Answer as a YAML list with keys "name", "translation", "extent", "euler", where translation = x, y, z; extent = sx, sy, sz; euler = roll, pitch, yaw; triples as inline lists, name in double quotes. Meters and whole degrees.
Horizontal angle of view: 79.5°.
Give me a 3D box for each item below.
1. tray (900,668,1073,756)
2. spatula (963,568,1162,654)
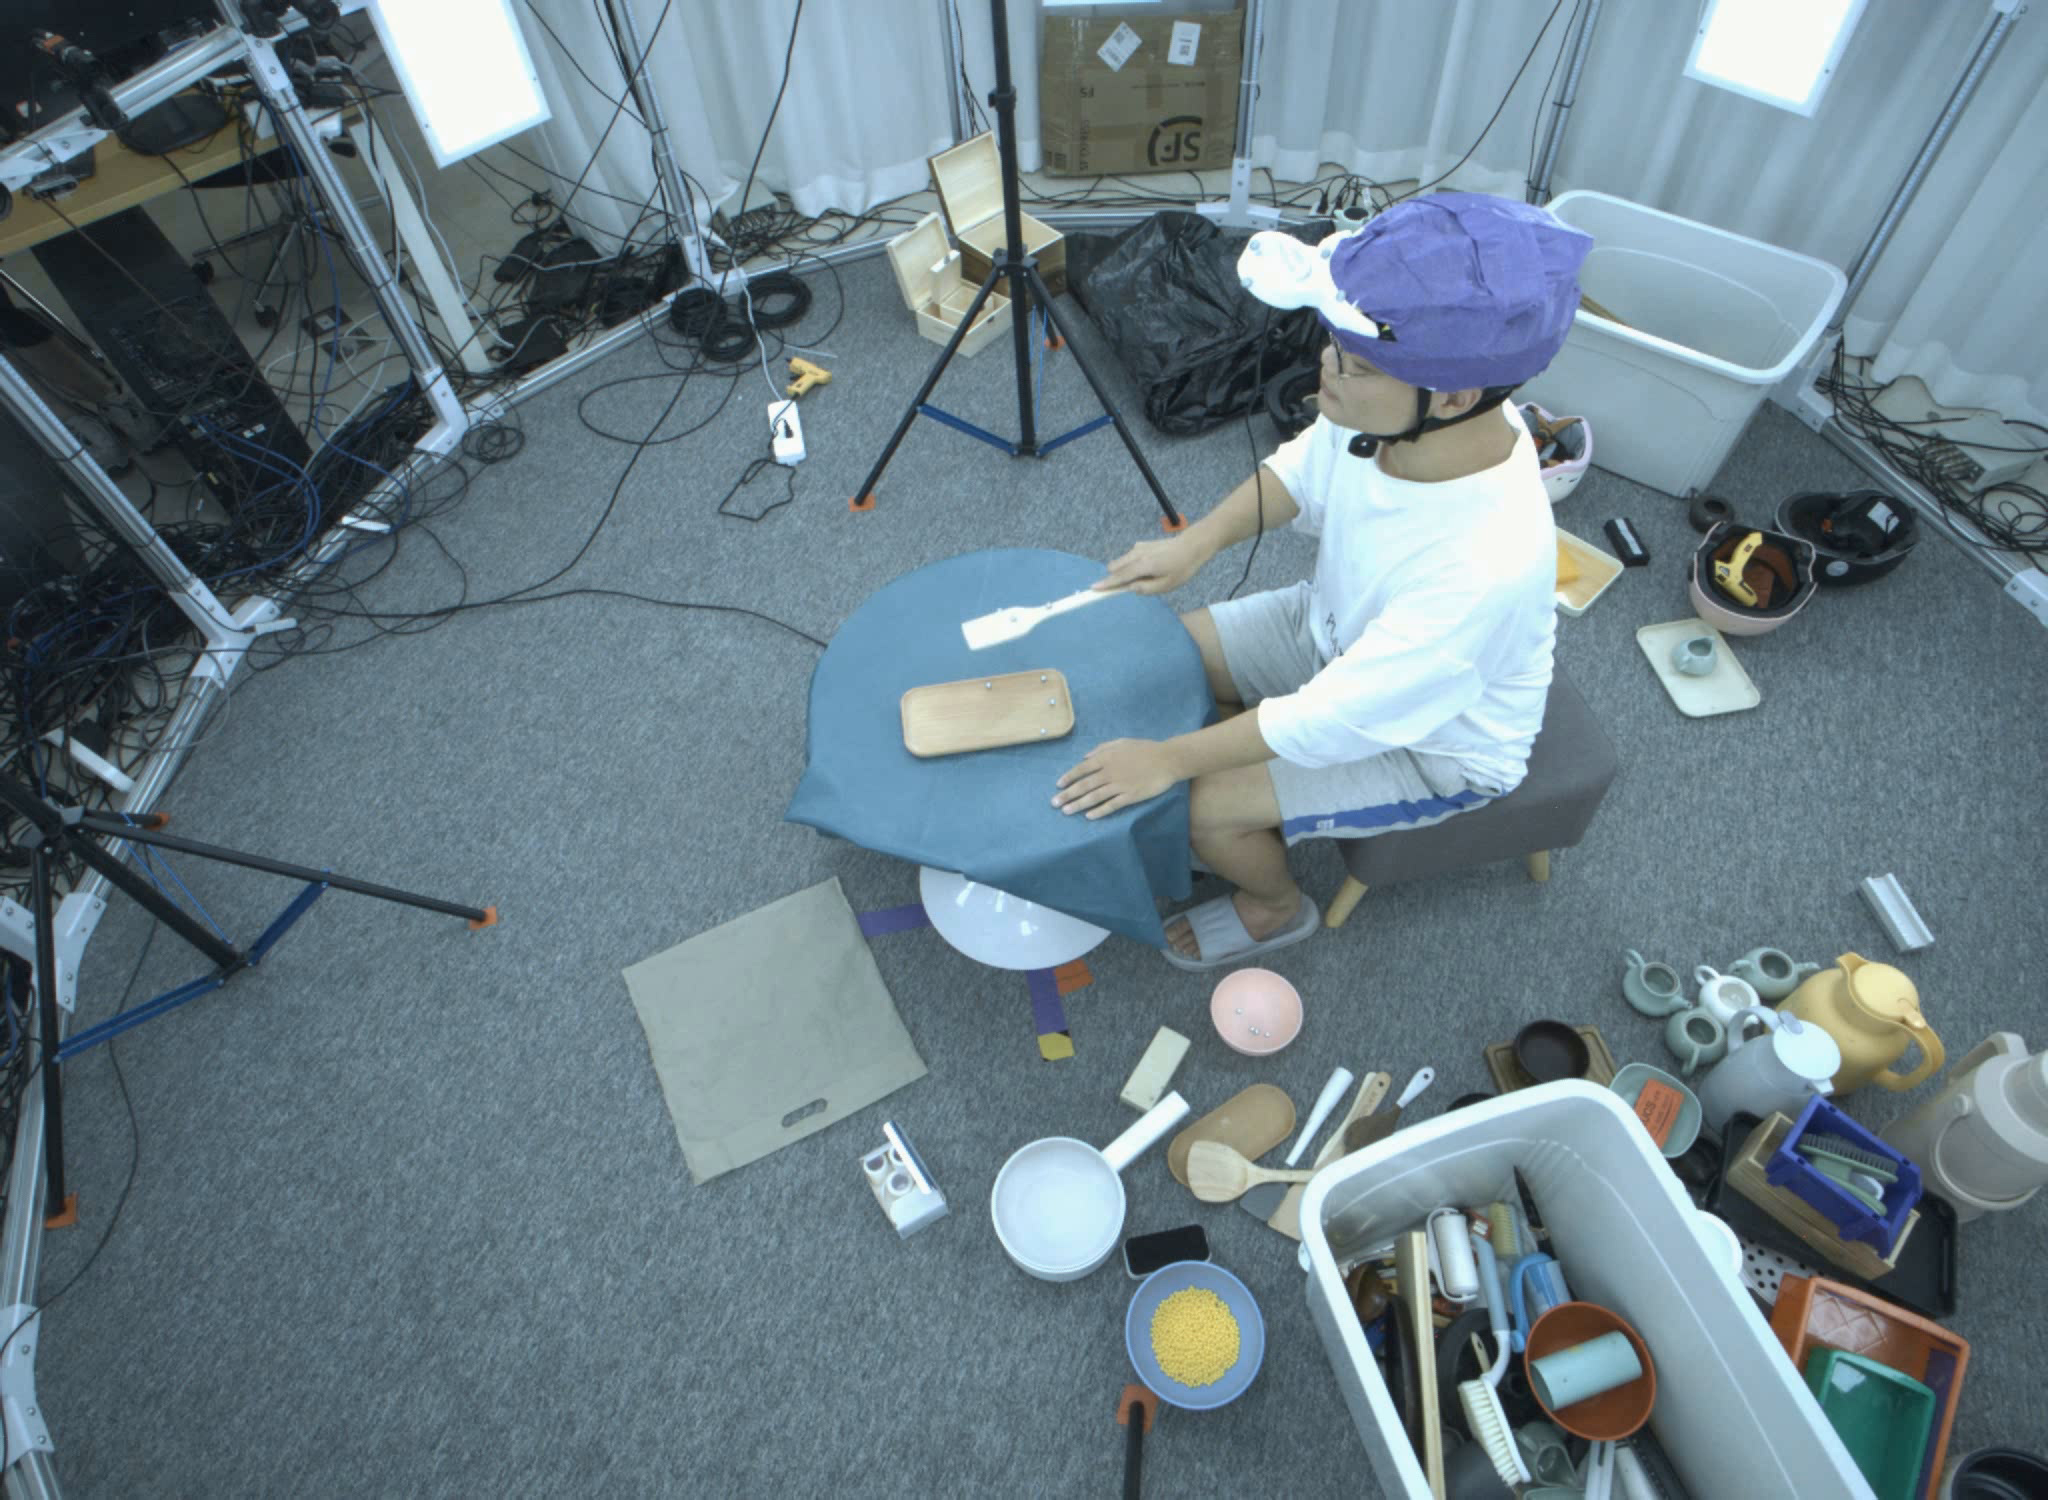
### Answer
- name: "tray"
  translation: [-0.056, -0.056, 1.817]
  extent: [0.251, 0.023, 0.129]
  euler: [-8, 52, -3]
- name: "spatula"
  translation: [0.056, -0.203, 1.739]
  extent: [0.294, 0.011, 0.071]
  euler: [-20, 43, -4]
